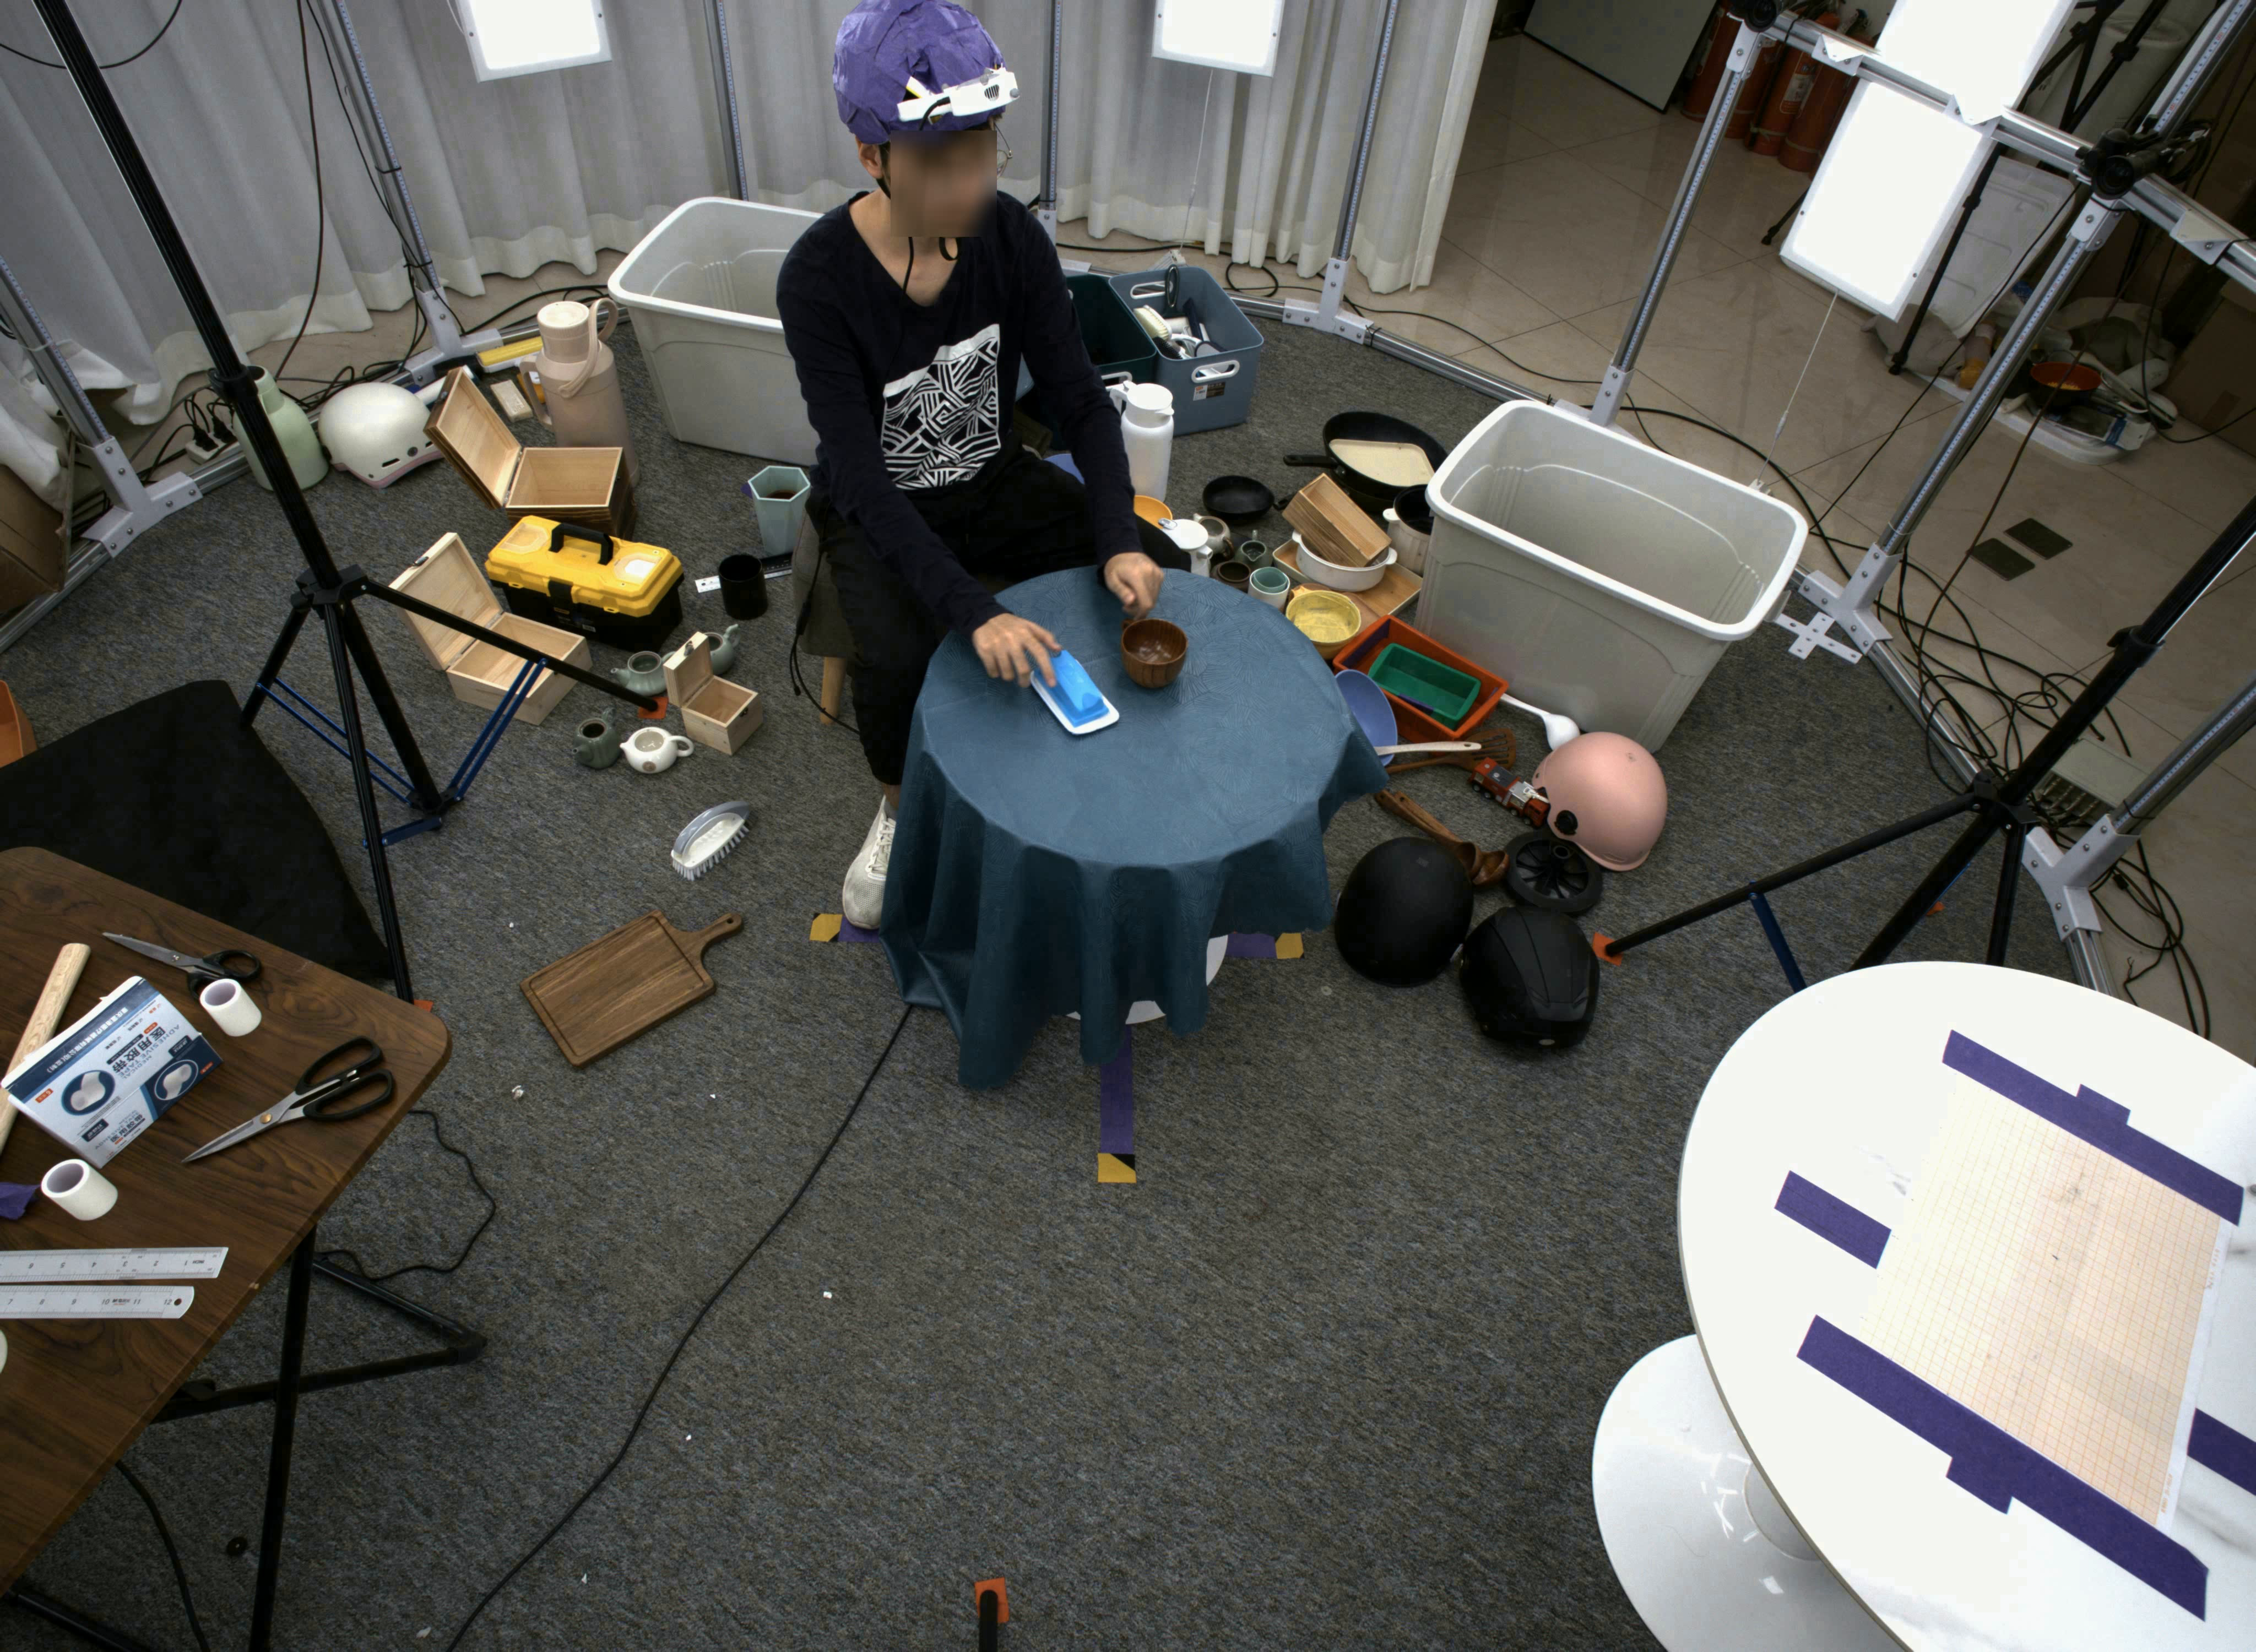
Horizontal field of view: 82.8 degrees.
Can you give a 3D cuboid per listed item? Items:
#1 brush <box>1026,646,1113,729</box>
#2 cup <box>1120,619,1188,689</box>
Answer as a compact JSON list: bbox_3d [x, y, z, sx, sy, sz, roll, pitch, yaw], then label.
[{"bbox_3d":[-0.081,-0.201,1.798,0.084,0.054,0.147,-18,55,-22],"label":"brush"},{"bbox_3d":[0.031,-0.249,1.844,0.097,0.066,0.121,-32,55,-23],"label":"cup"}]
